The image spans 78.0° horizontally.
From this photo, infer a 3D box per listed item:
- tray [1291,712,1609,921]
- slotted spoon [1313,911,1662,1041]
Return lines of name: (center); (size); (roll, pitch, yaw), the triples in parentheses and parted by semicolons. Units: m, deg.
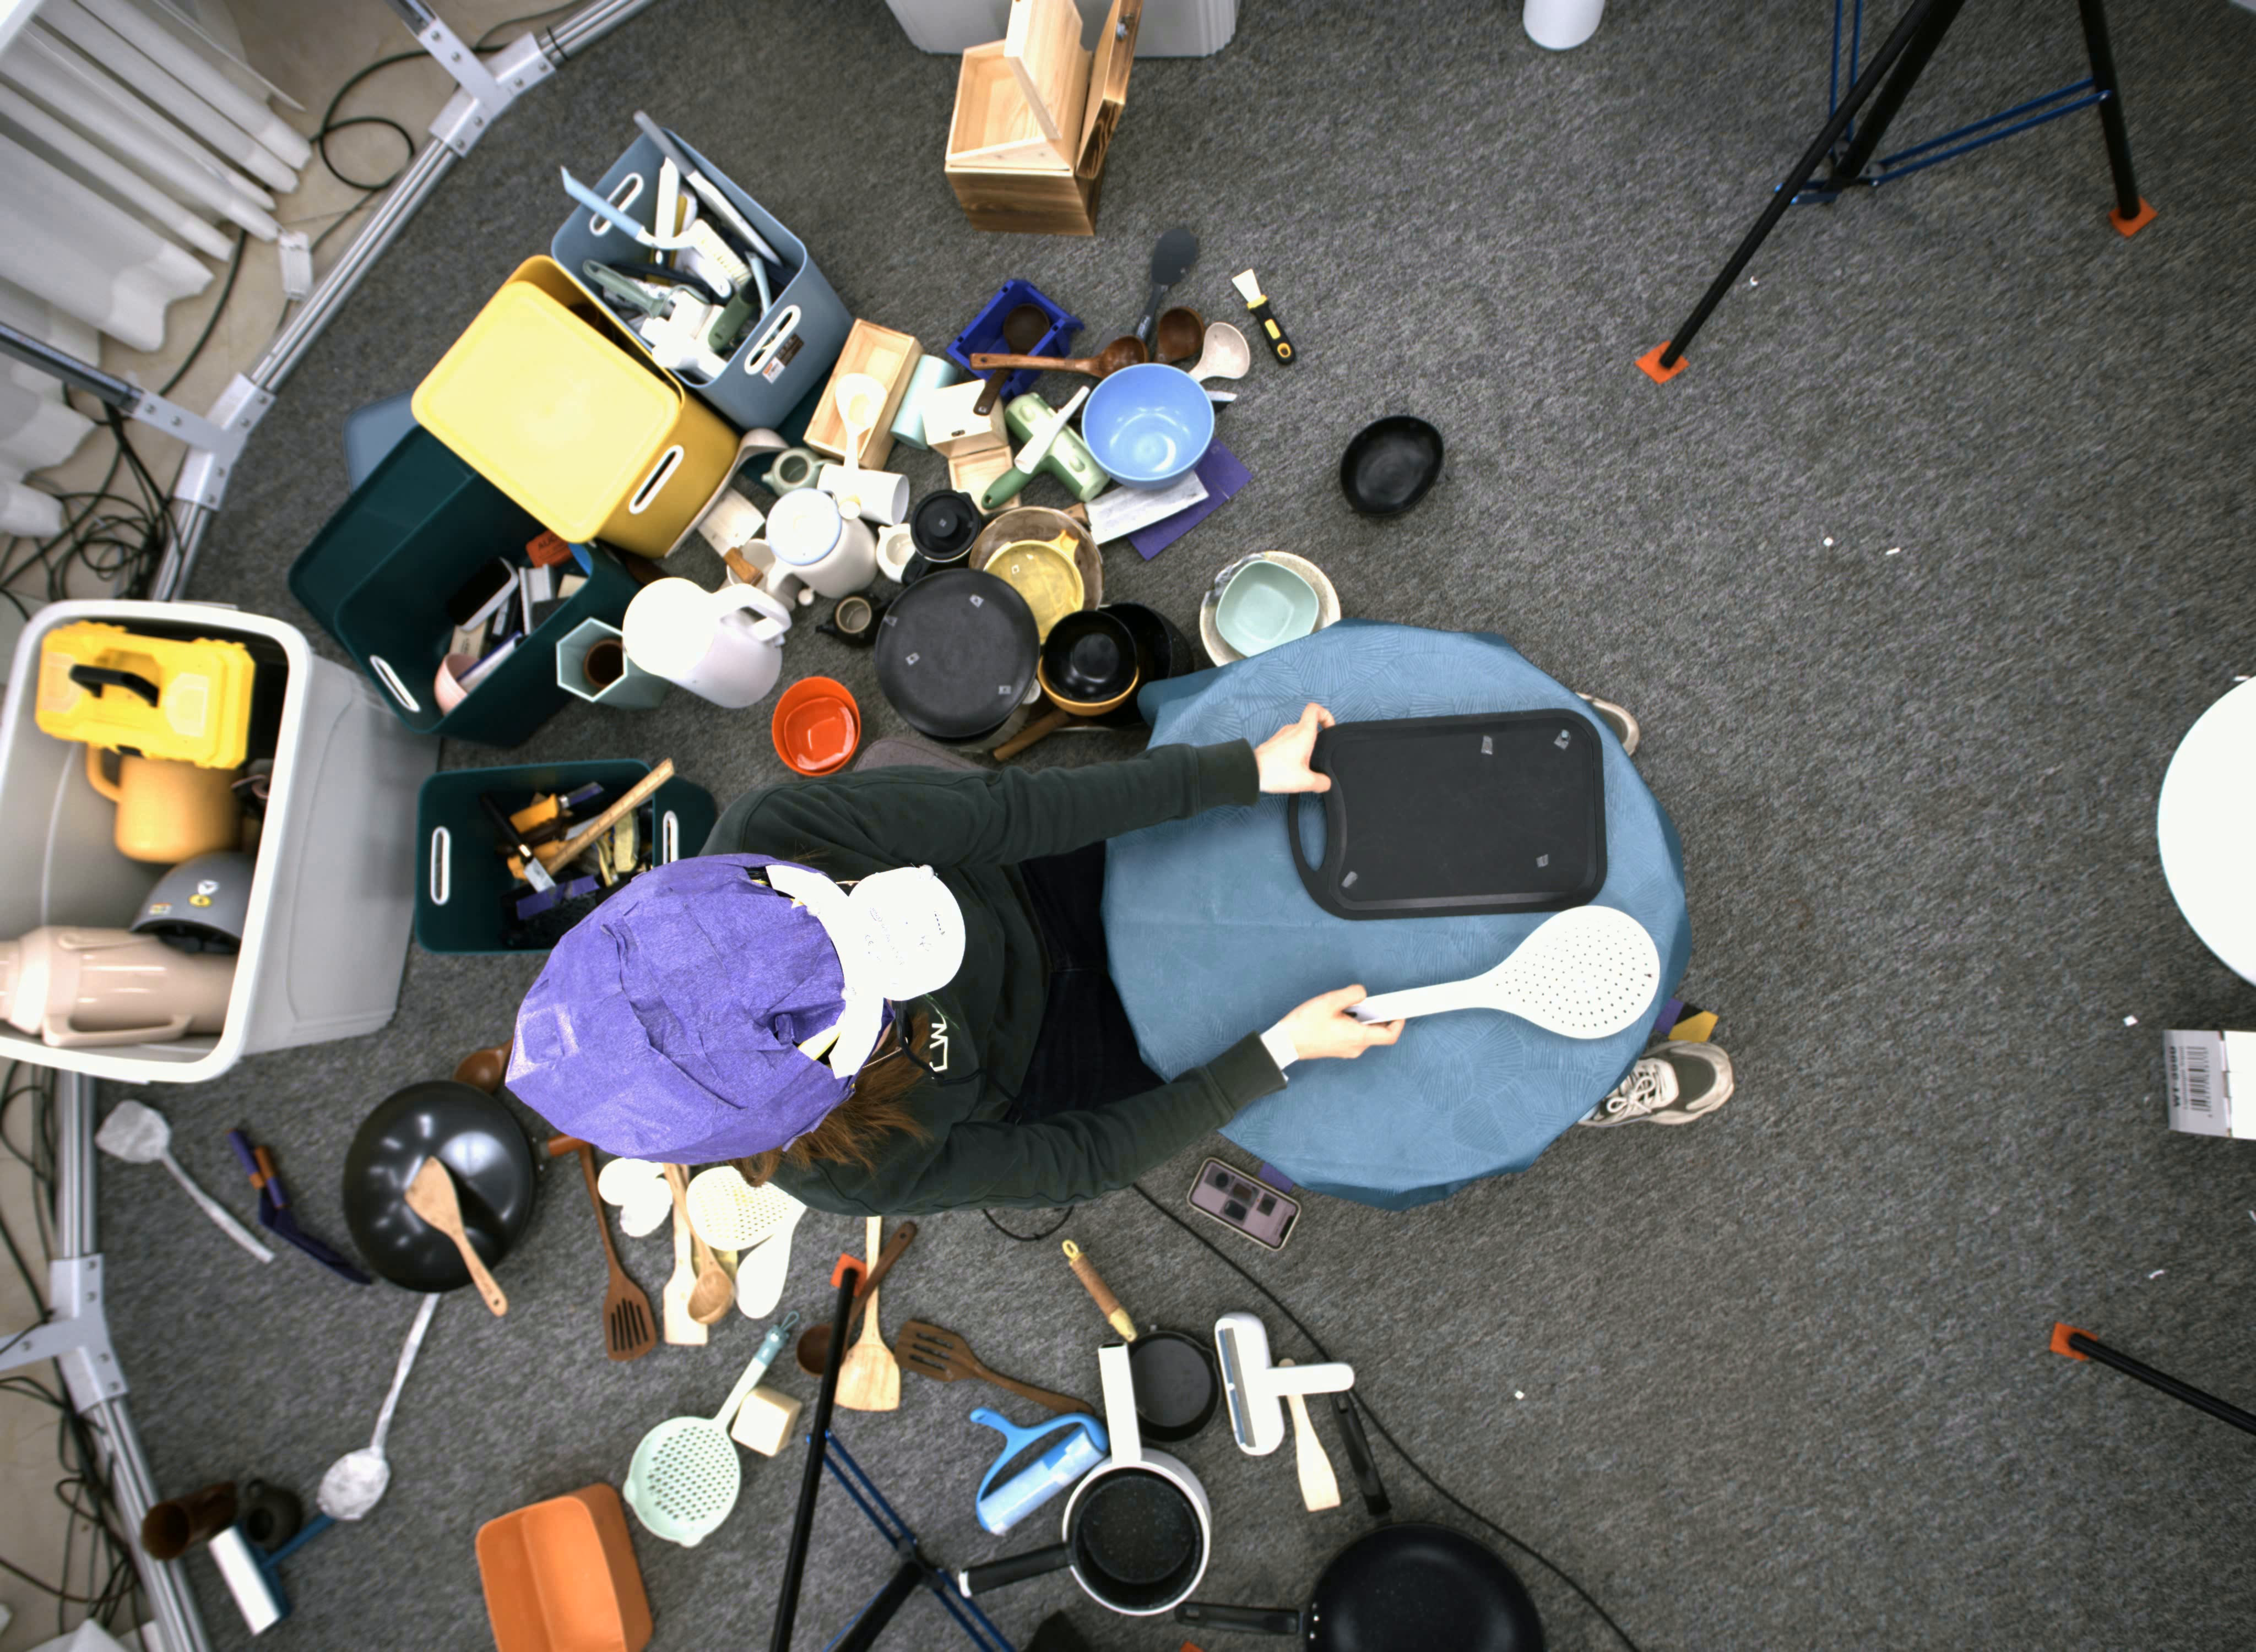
tray: (0.333, -0.009, 1.435); (0.327, 0.010, 0.212); (-3, 96, 10)
slotted spoon: (0.363, 0.168, 1.404); (0.351, 0.045, 0.137); (-11, 100, 4)
